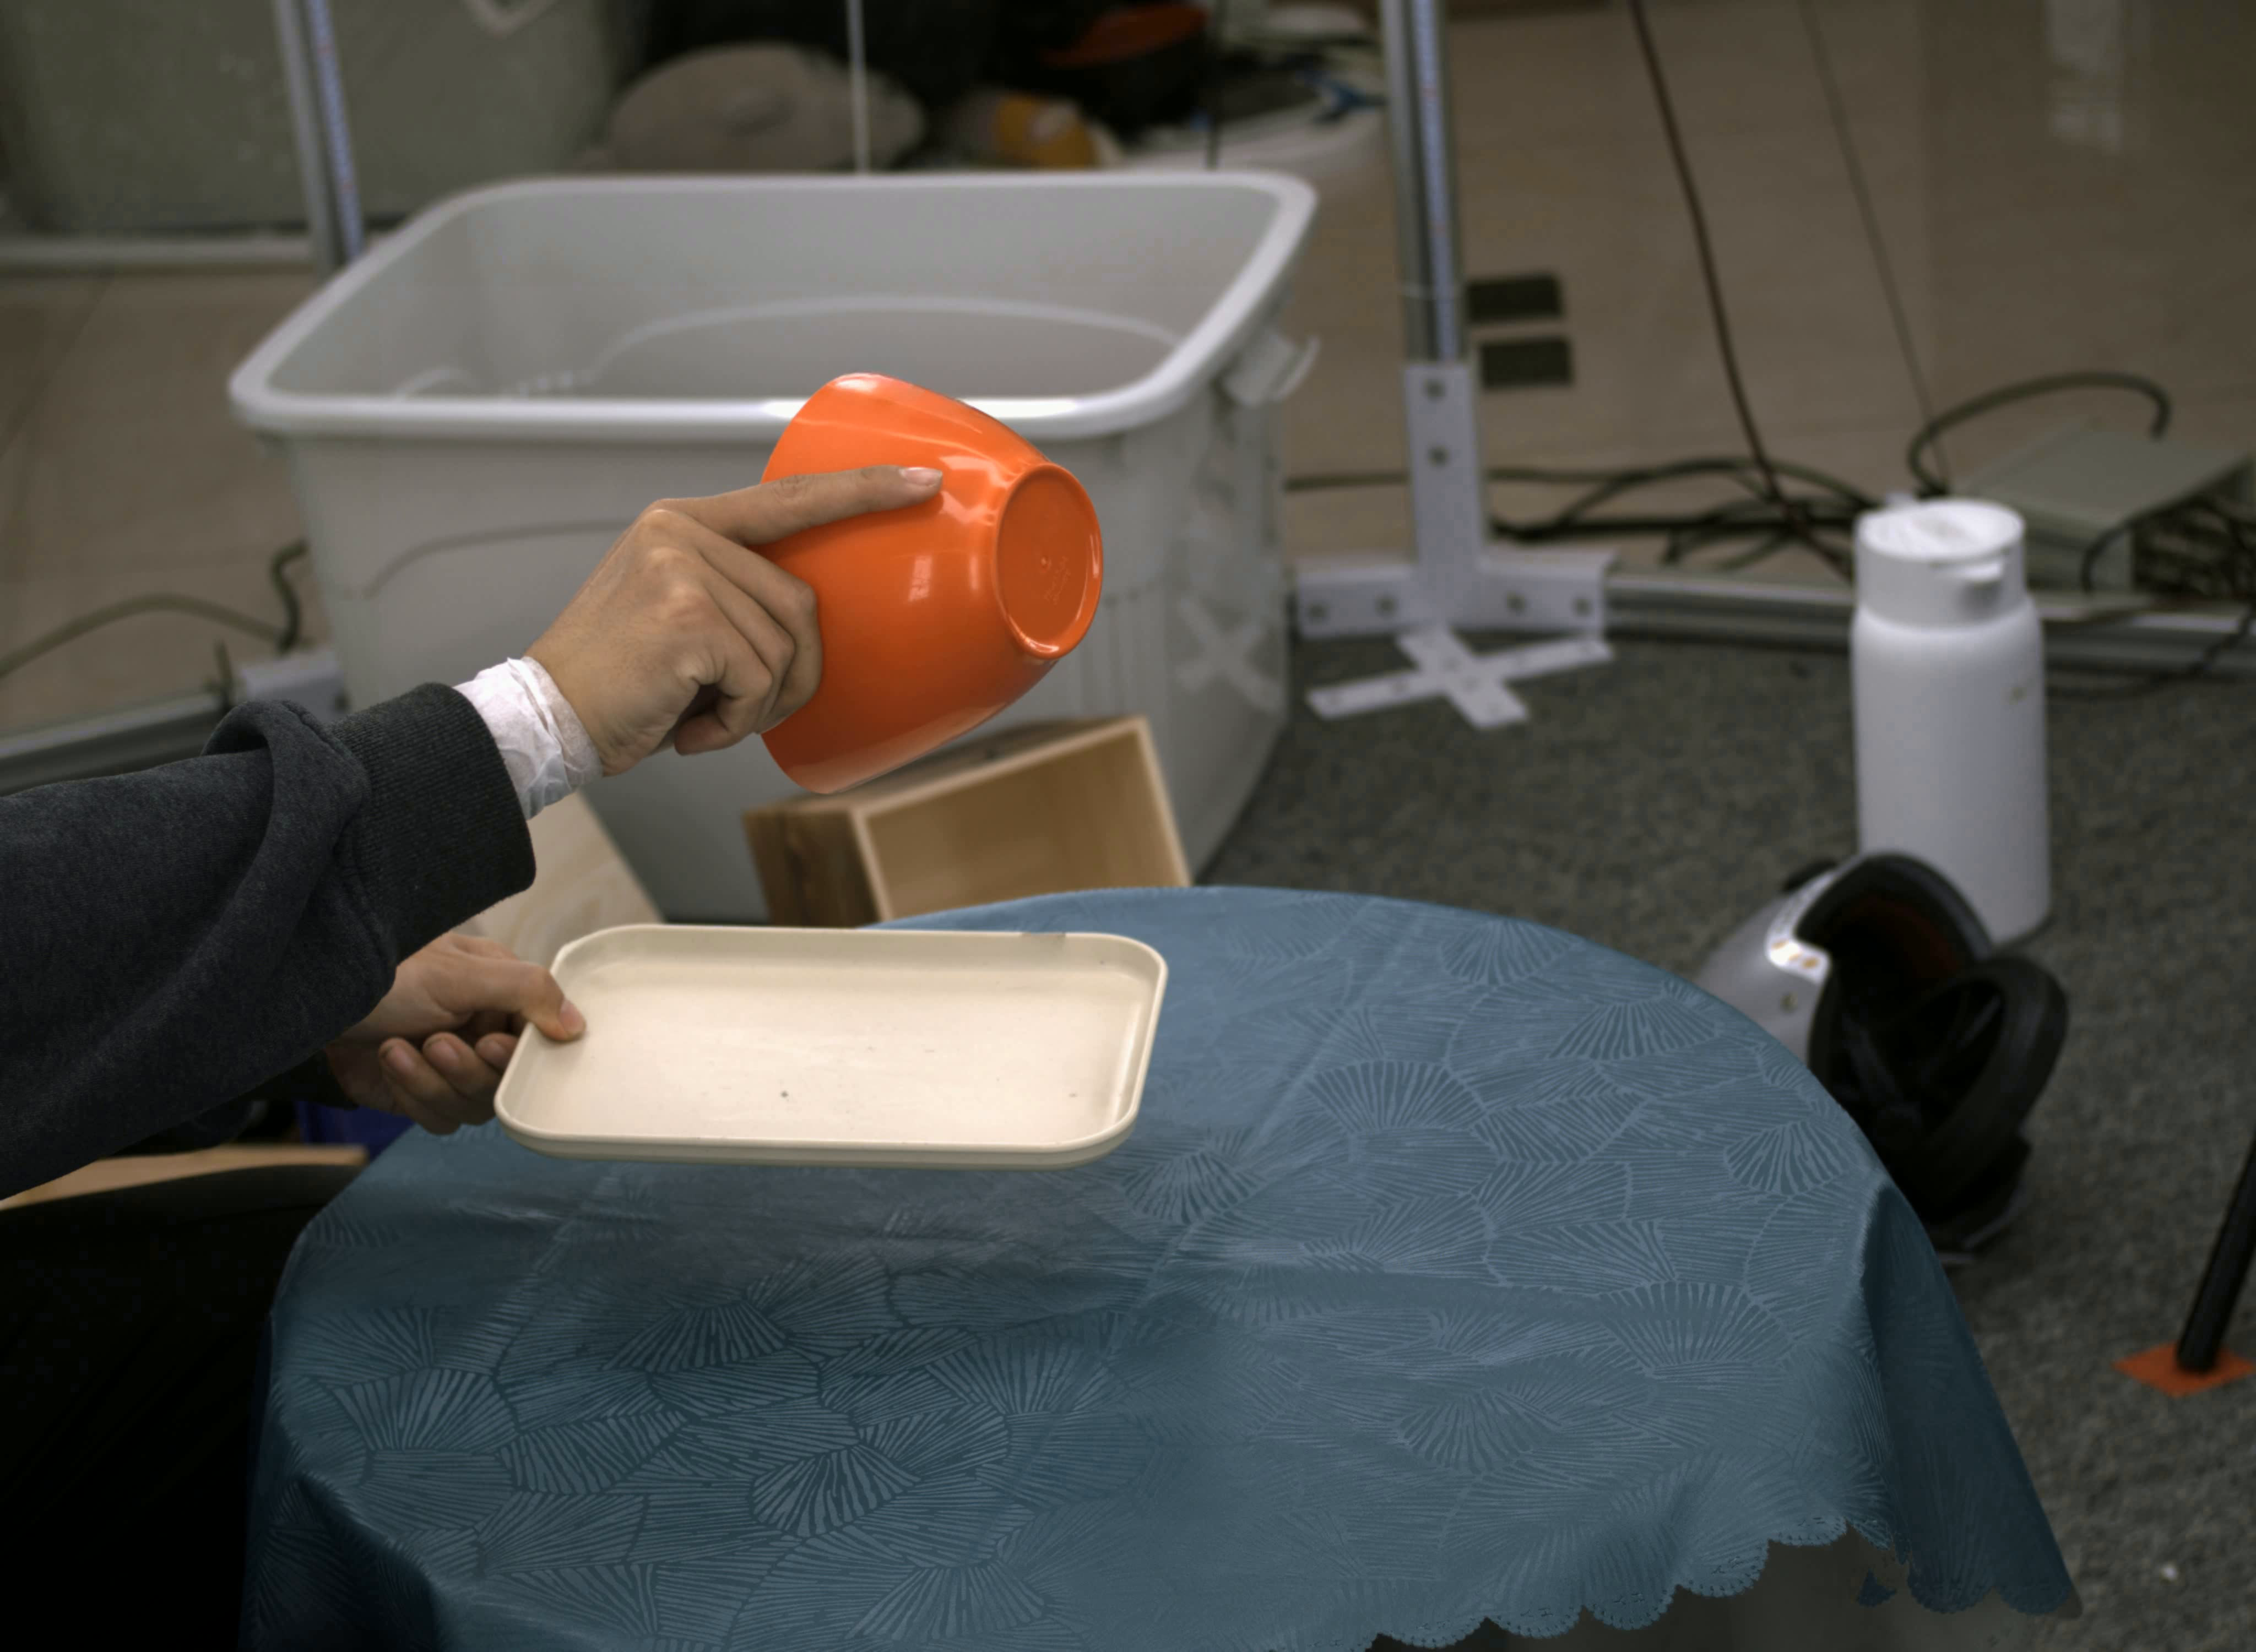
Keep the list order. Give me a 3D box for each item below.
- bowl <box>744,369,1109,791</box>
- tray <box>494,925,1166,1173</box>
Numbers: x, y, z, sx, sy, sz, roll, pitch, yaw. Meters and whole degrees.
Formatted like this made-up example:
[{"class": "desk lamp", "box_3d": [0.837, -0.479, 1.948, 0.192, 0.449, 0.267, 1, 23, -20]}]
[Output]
[{"class": "bowl", "box_3d": [-0.062, -0.086, 1.949, 0.104, 0.150, 0.146, 2, 25, 33]}, {"class": "tray", "box_3d": [-0.109, 0.084, 2.121, 0.239, 0.018, 0.168, 1, 27, 6]}]
